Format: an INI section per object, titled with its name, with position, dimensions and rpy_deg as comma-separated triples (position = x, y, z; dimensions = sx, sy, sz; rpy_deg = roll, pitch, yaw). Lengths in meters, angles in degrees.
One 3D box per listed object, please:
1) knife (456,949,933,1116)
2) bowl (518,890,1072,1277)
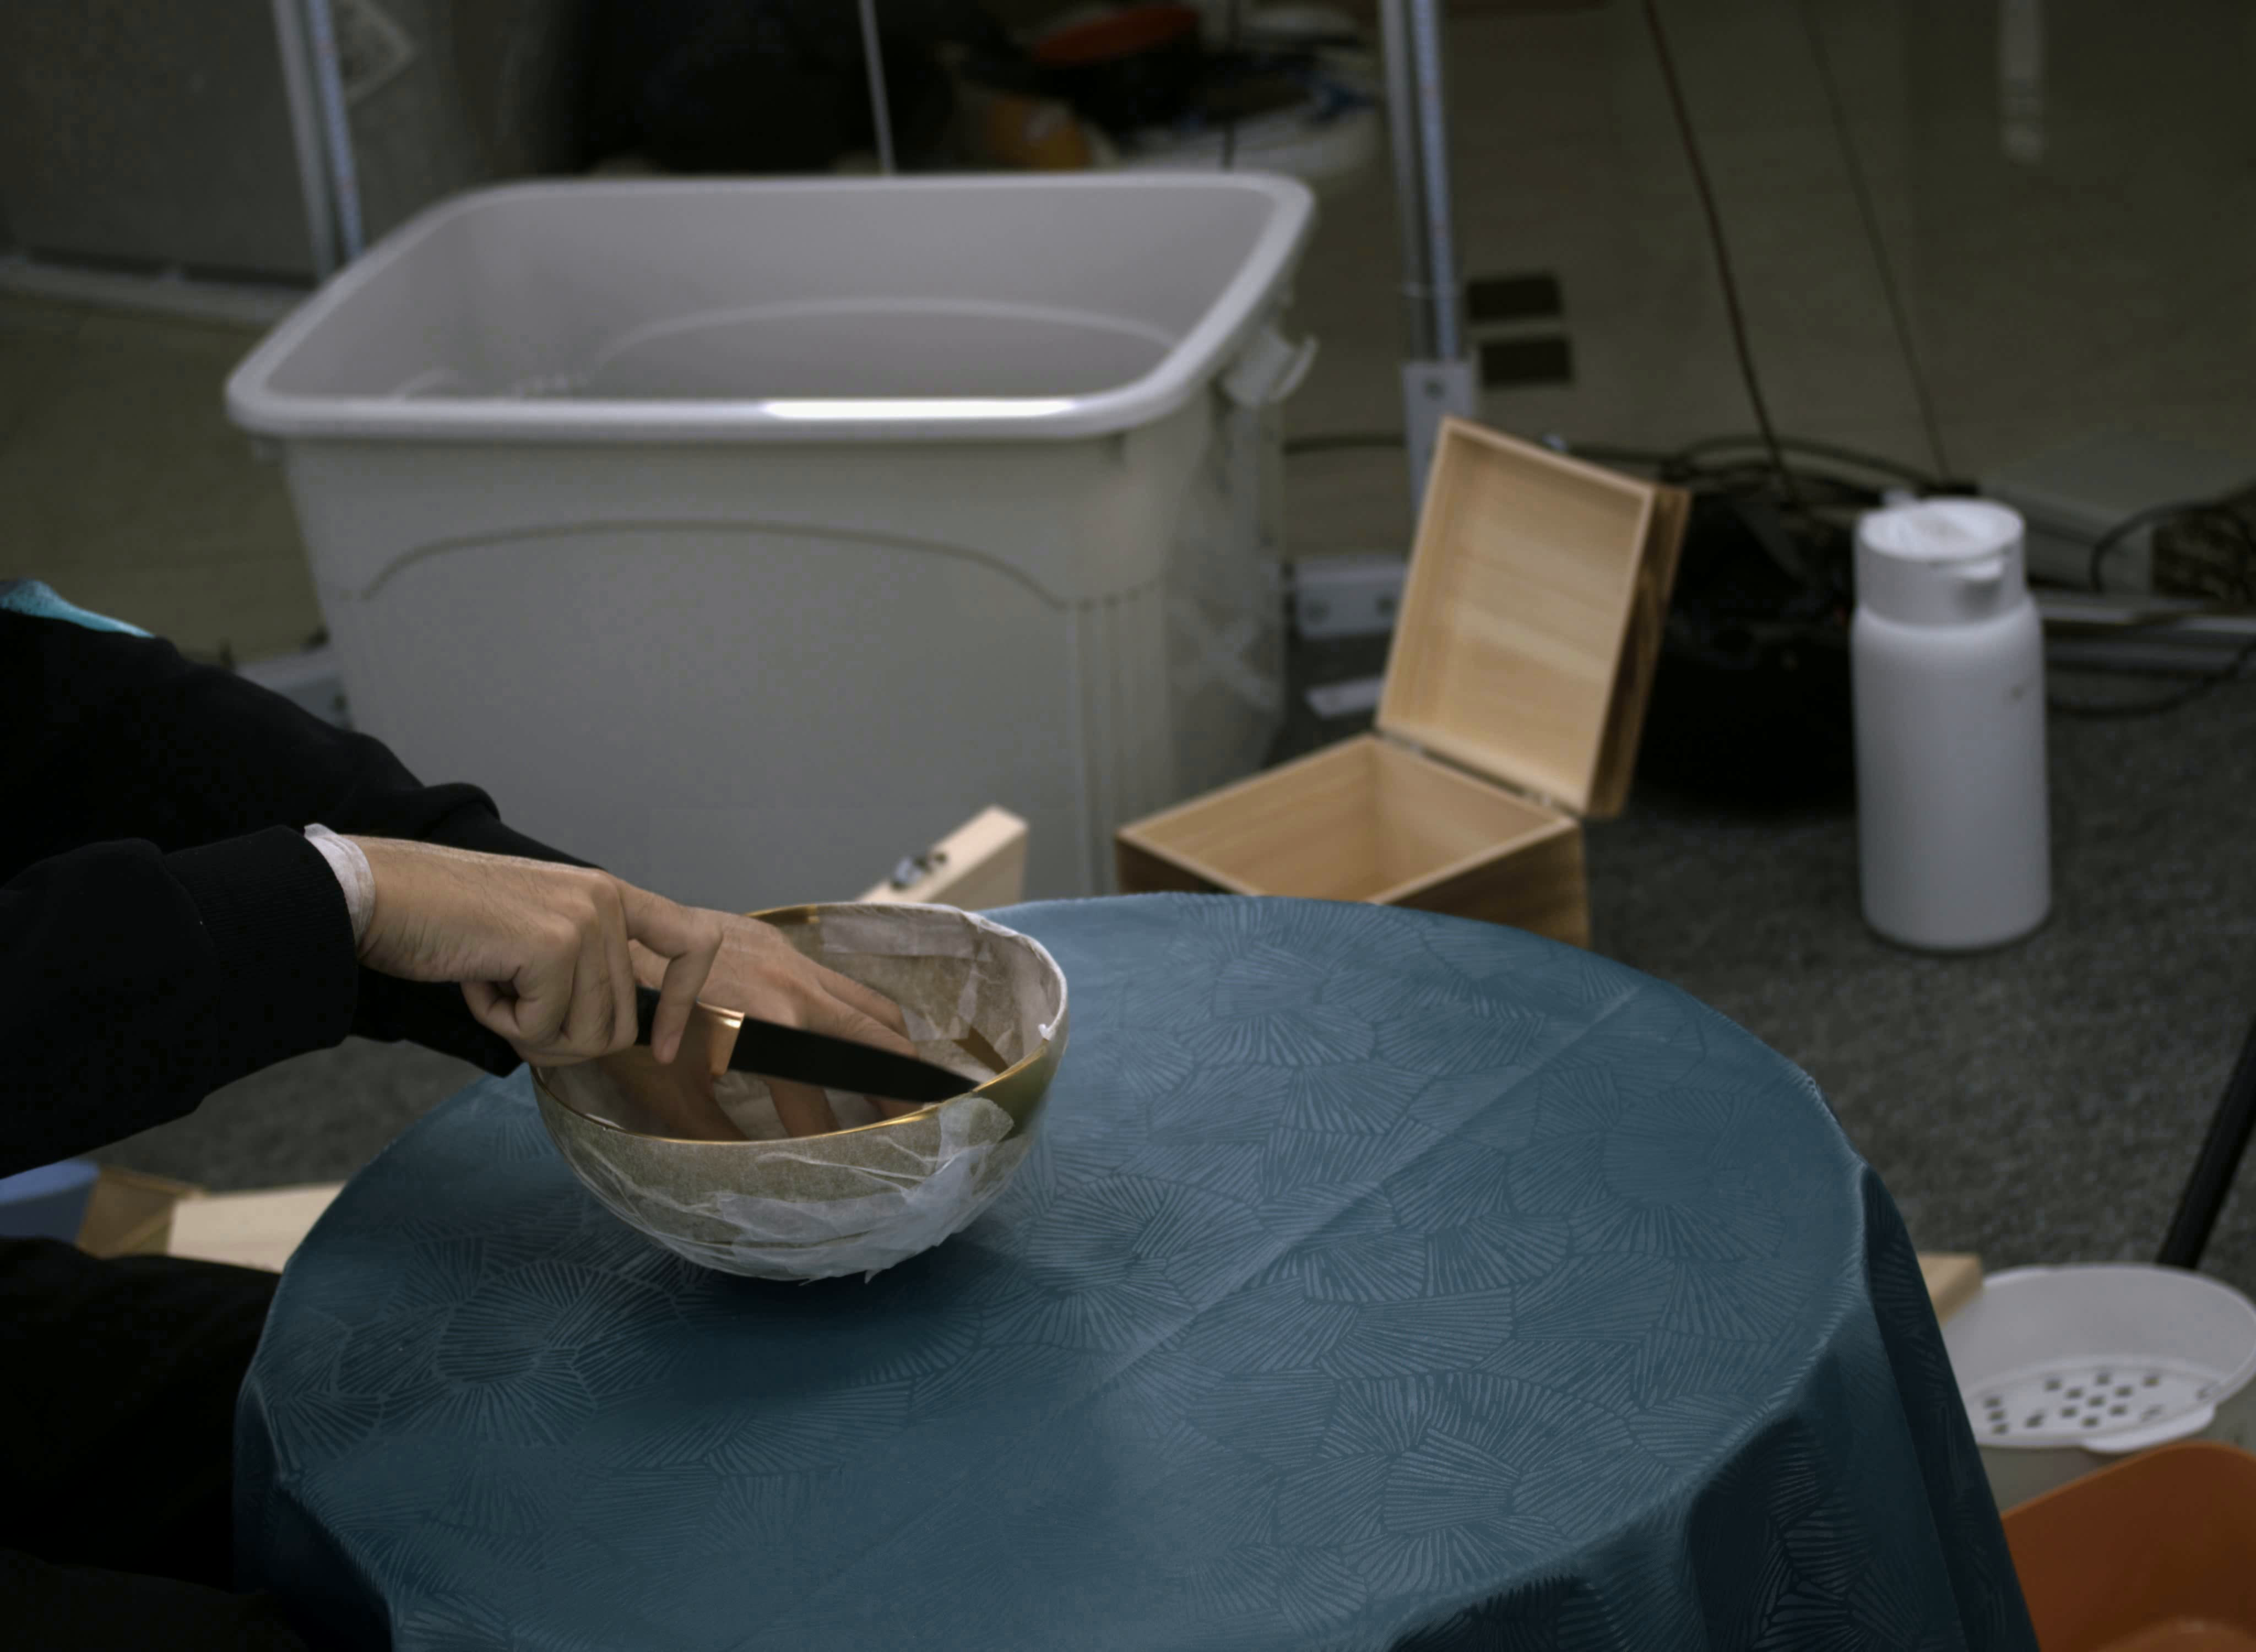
[knife]
position = -0.144, 0.083, 2.093
dimensions = 0.226, 0.026, 0.017
rpy_deg = 18, 8, -21
[bowl]
position = -0.123, 0.109, 2.124
dimensions = 0.214, 0.096, 0.211
rpy_deg = -4, 26, 2
